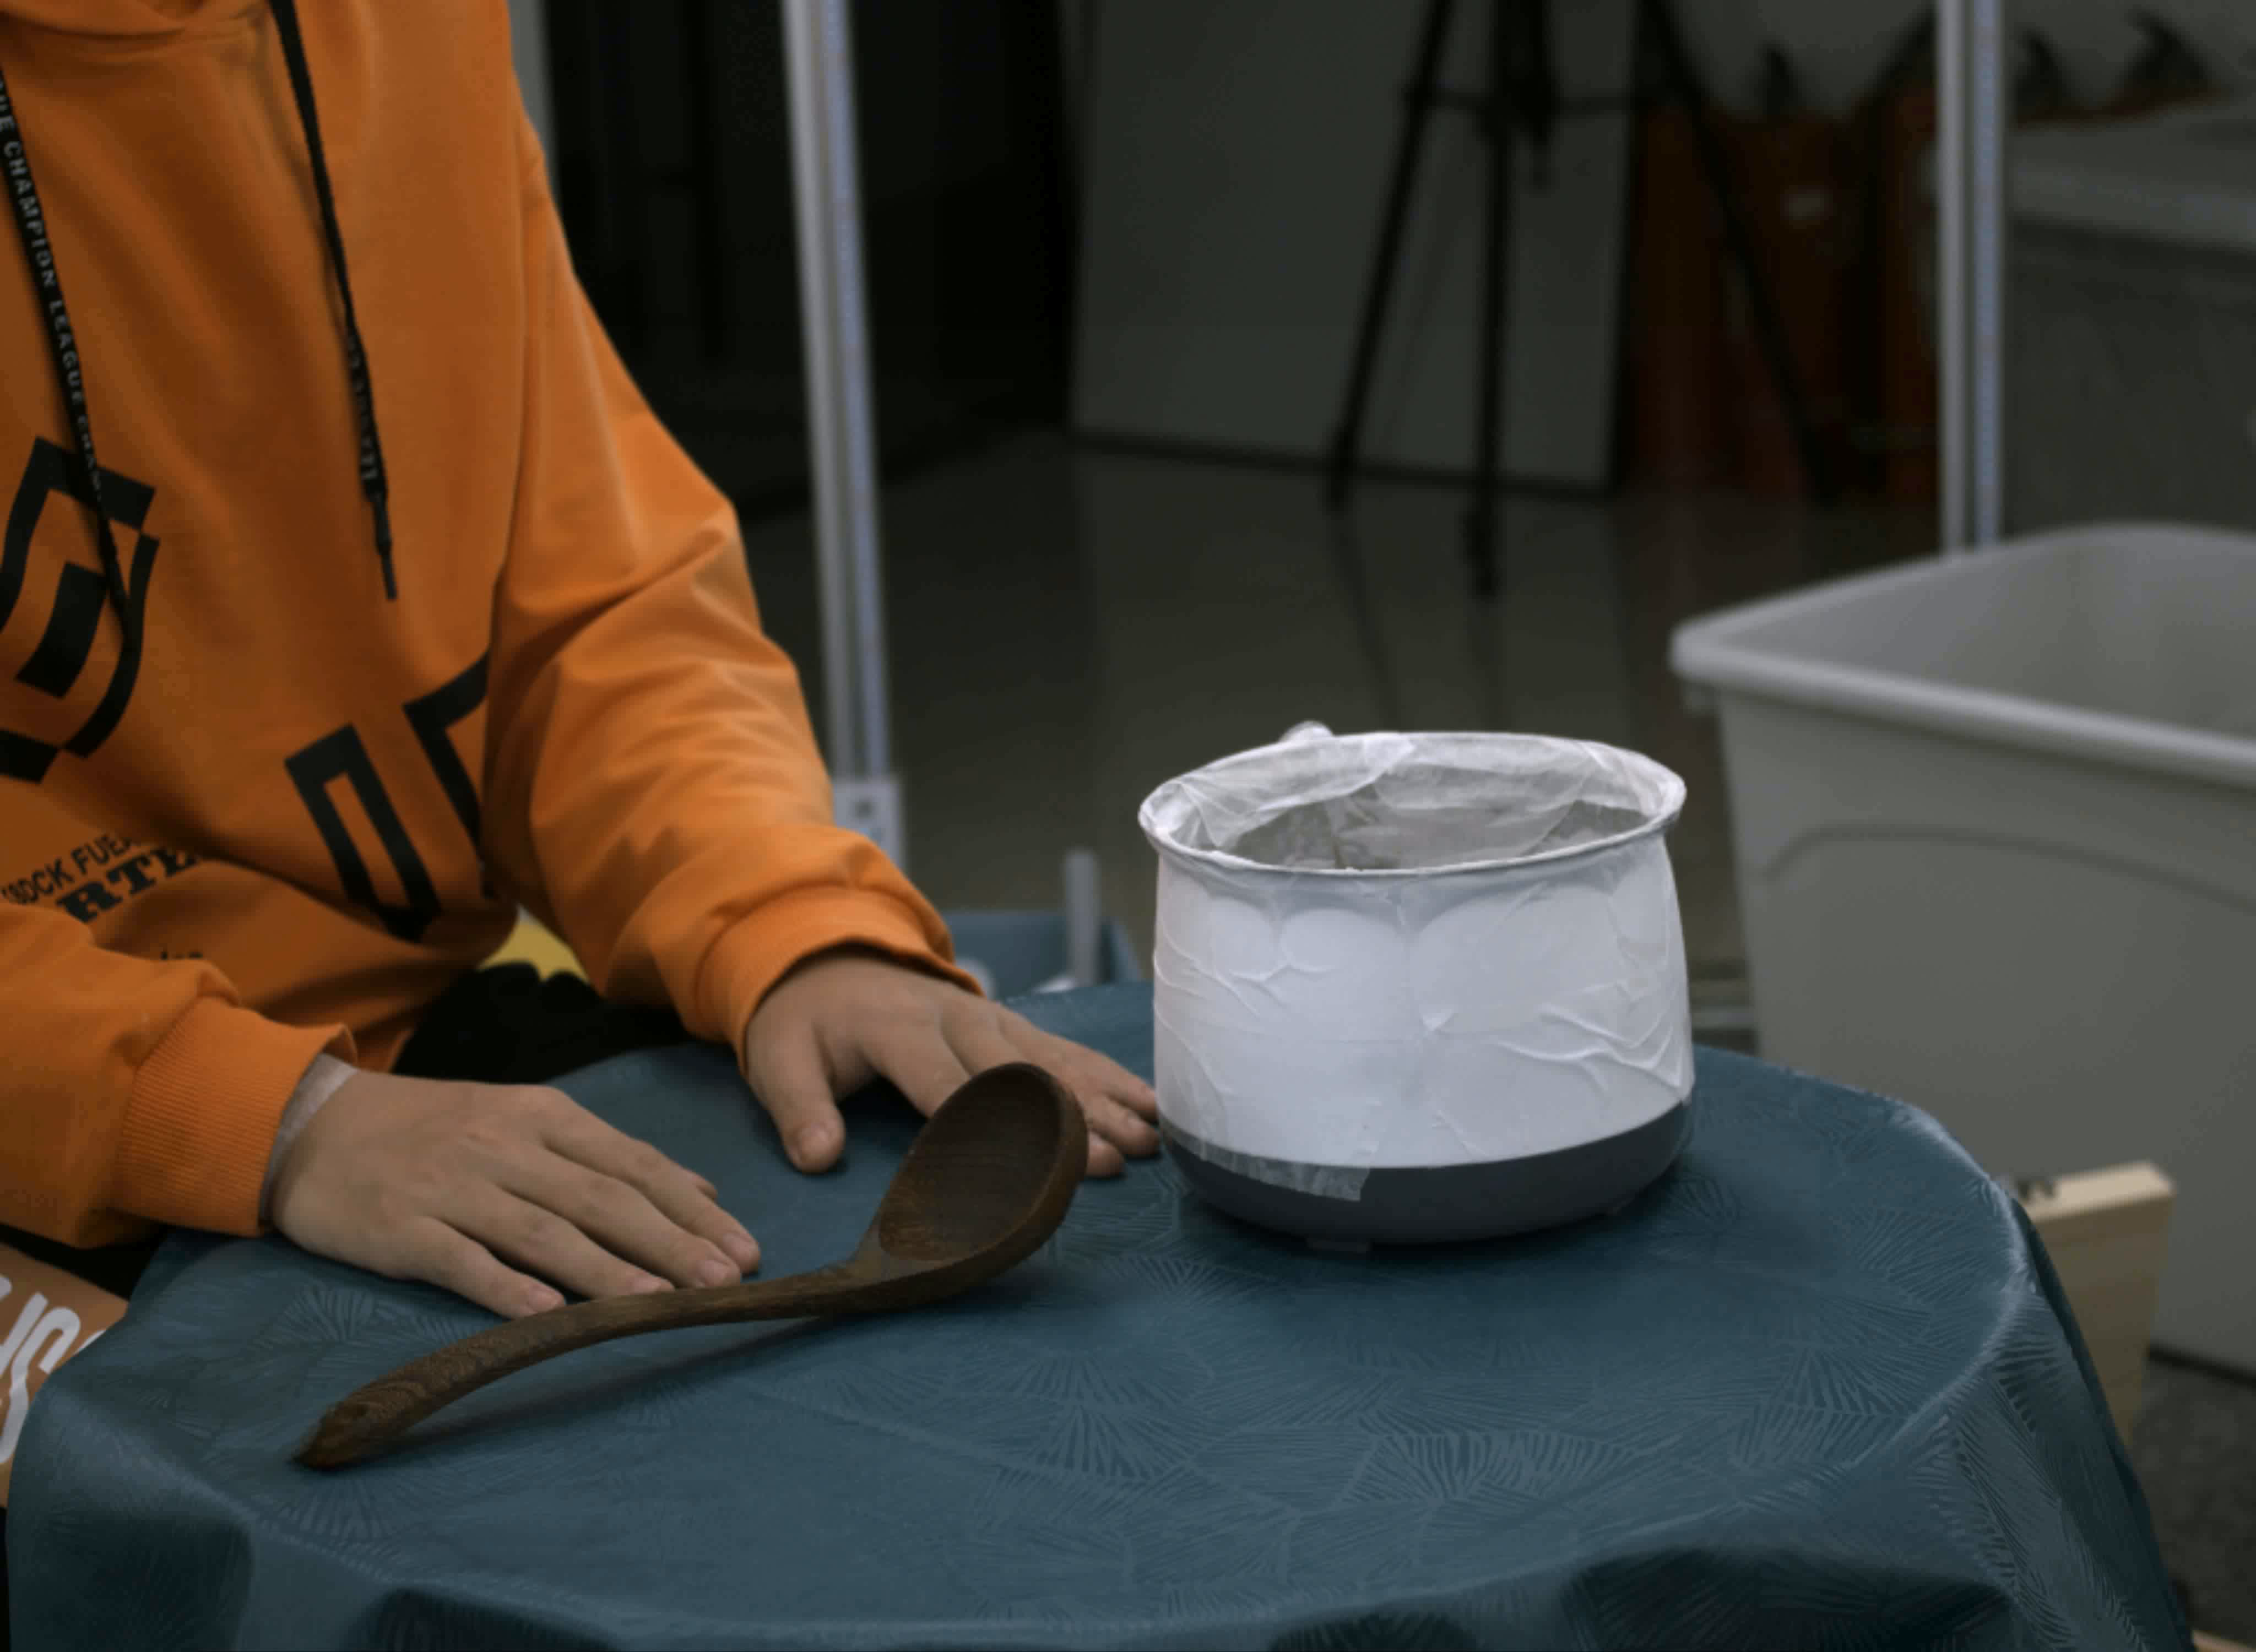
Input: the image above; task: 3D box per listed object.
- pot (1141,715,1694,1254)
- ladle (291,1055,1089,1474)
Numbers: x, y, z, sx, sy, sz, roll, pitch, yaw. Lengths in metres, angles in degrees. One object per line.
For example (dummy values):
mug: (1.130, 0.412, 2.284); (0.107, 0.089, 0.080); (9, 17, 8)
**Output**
pot: (0.085, 0.045, 1.764); (0.175, 0.138, 0.236); (-8, 14, -17)
ladle: (-0.130, 0.129, 1.632); (0.268, 0.072, 0.077); (-12, 13, -32)
